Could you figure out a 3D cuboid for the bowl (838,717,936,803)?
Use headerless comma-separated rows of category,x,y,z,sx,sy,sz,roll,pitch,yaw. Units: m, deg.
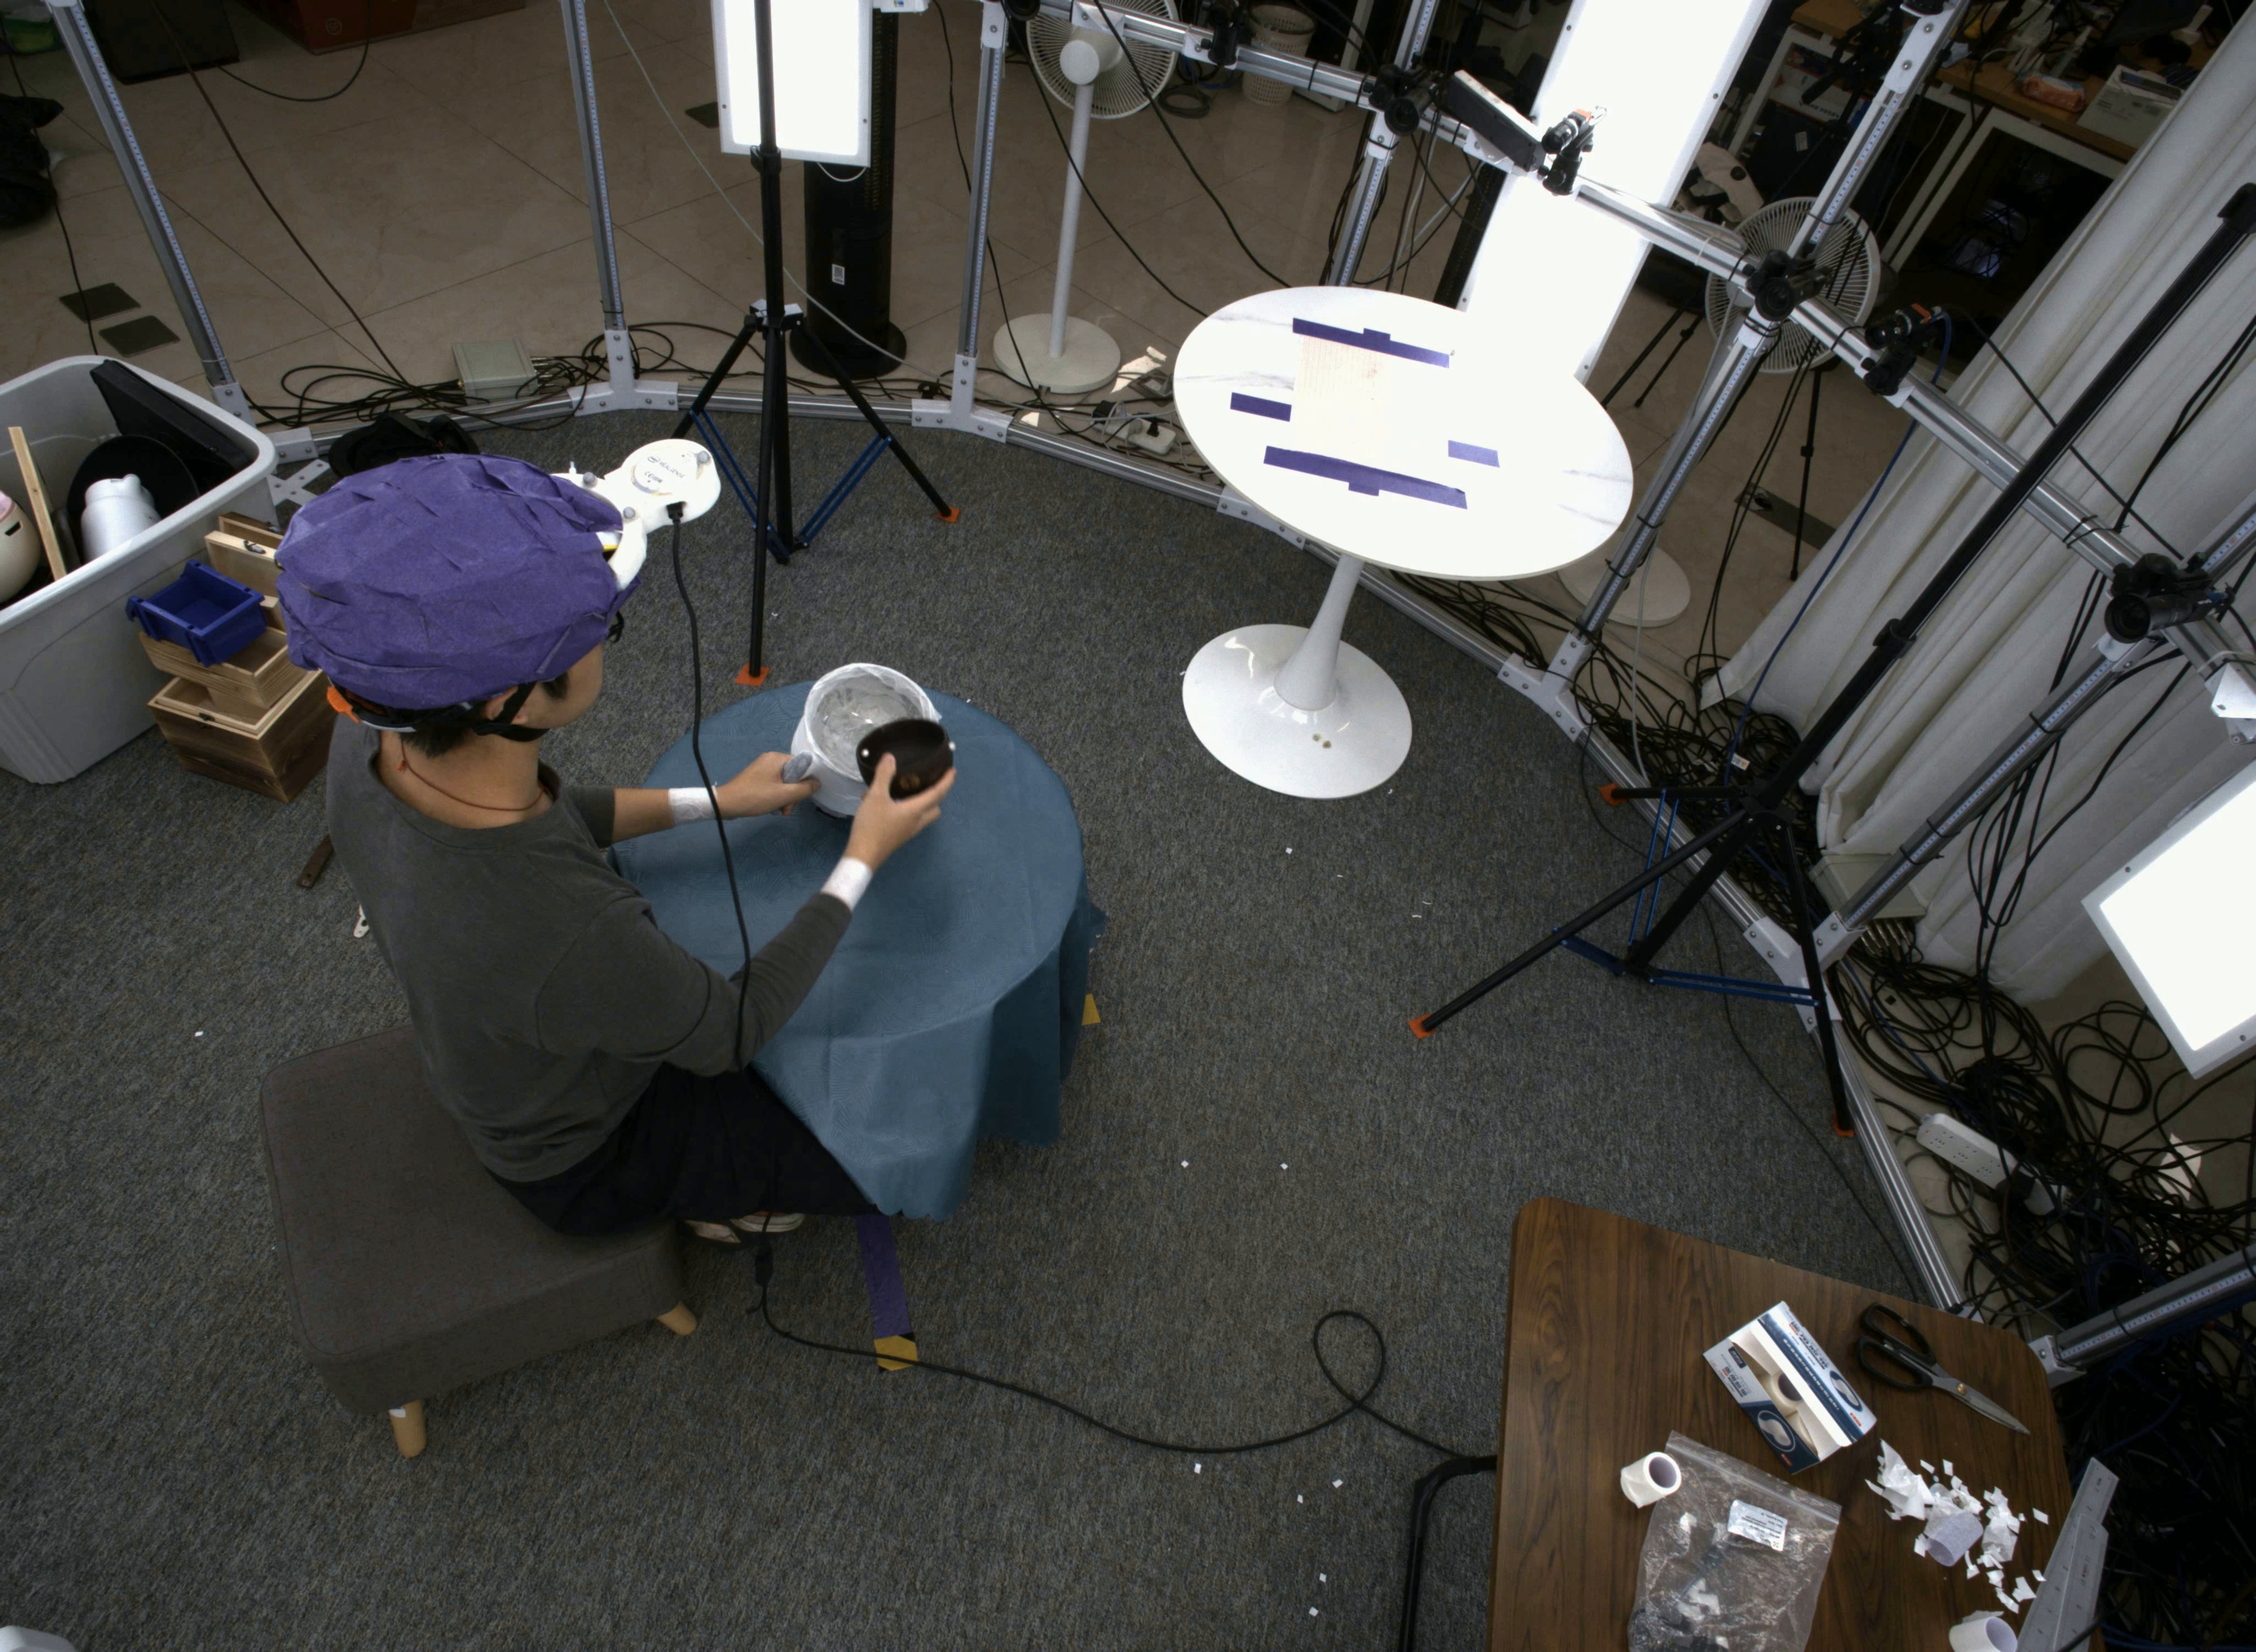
bowl,-0.294,-0.073,1.610,0.116,0.072,0.115,-3,42,4

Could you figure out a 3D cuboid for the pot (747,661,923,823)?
pot,-0.392,-0.094,1.705,0.234,0.137,0.178,-36,83,-34
